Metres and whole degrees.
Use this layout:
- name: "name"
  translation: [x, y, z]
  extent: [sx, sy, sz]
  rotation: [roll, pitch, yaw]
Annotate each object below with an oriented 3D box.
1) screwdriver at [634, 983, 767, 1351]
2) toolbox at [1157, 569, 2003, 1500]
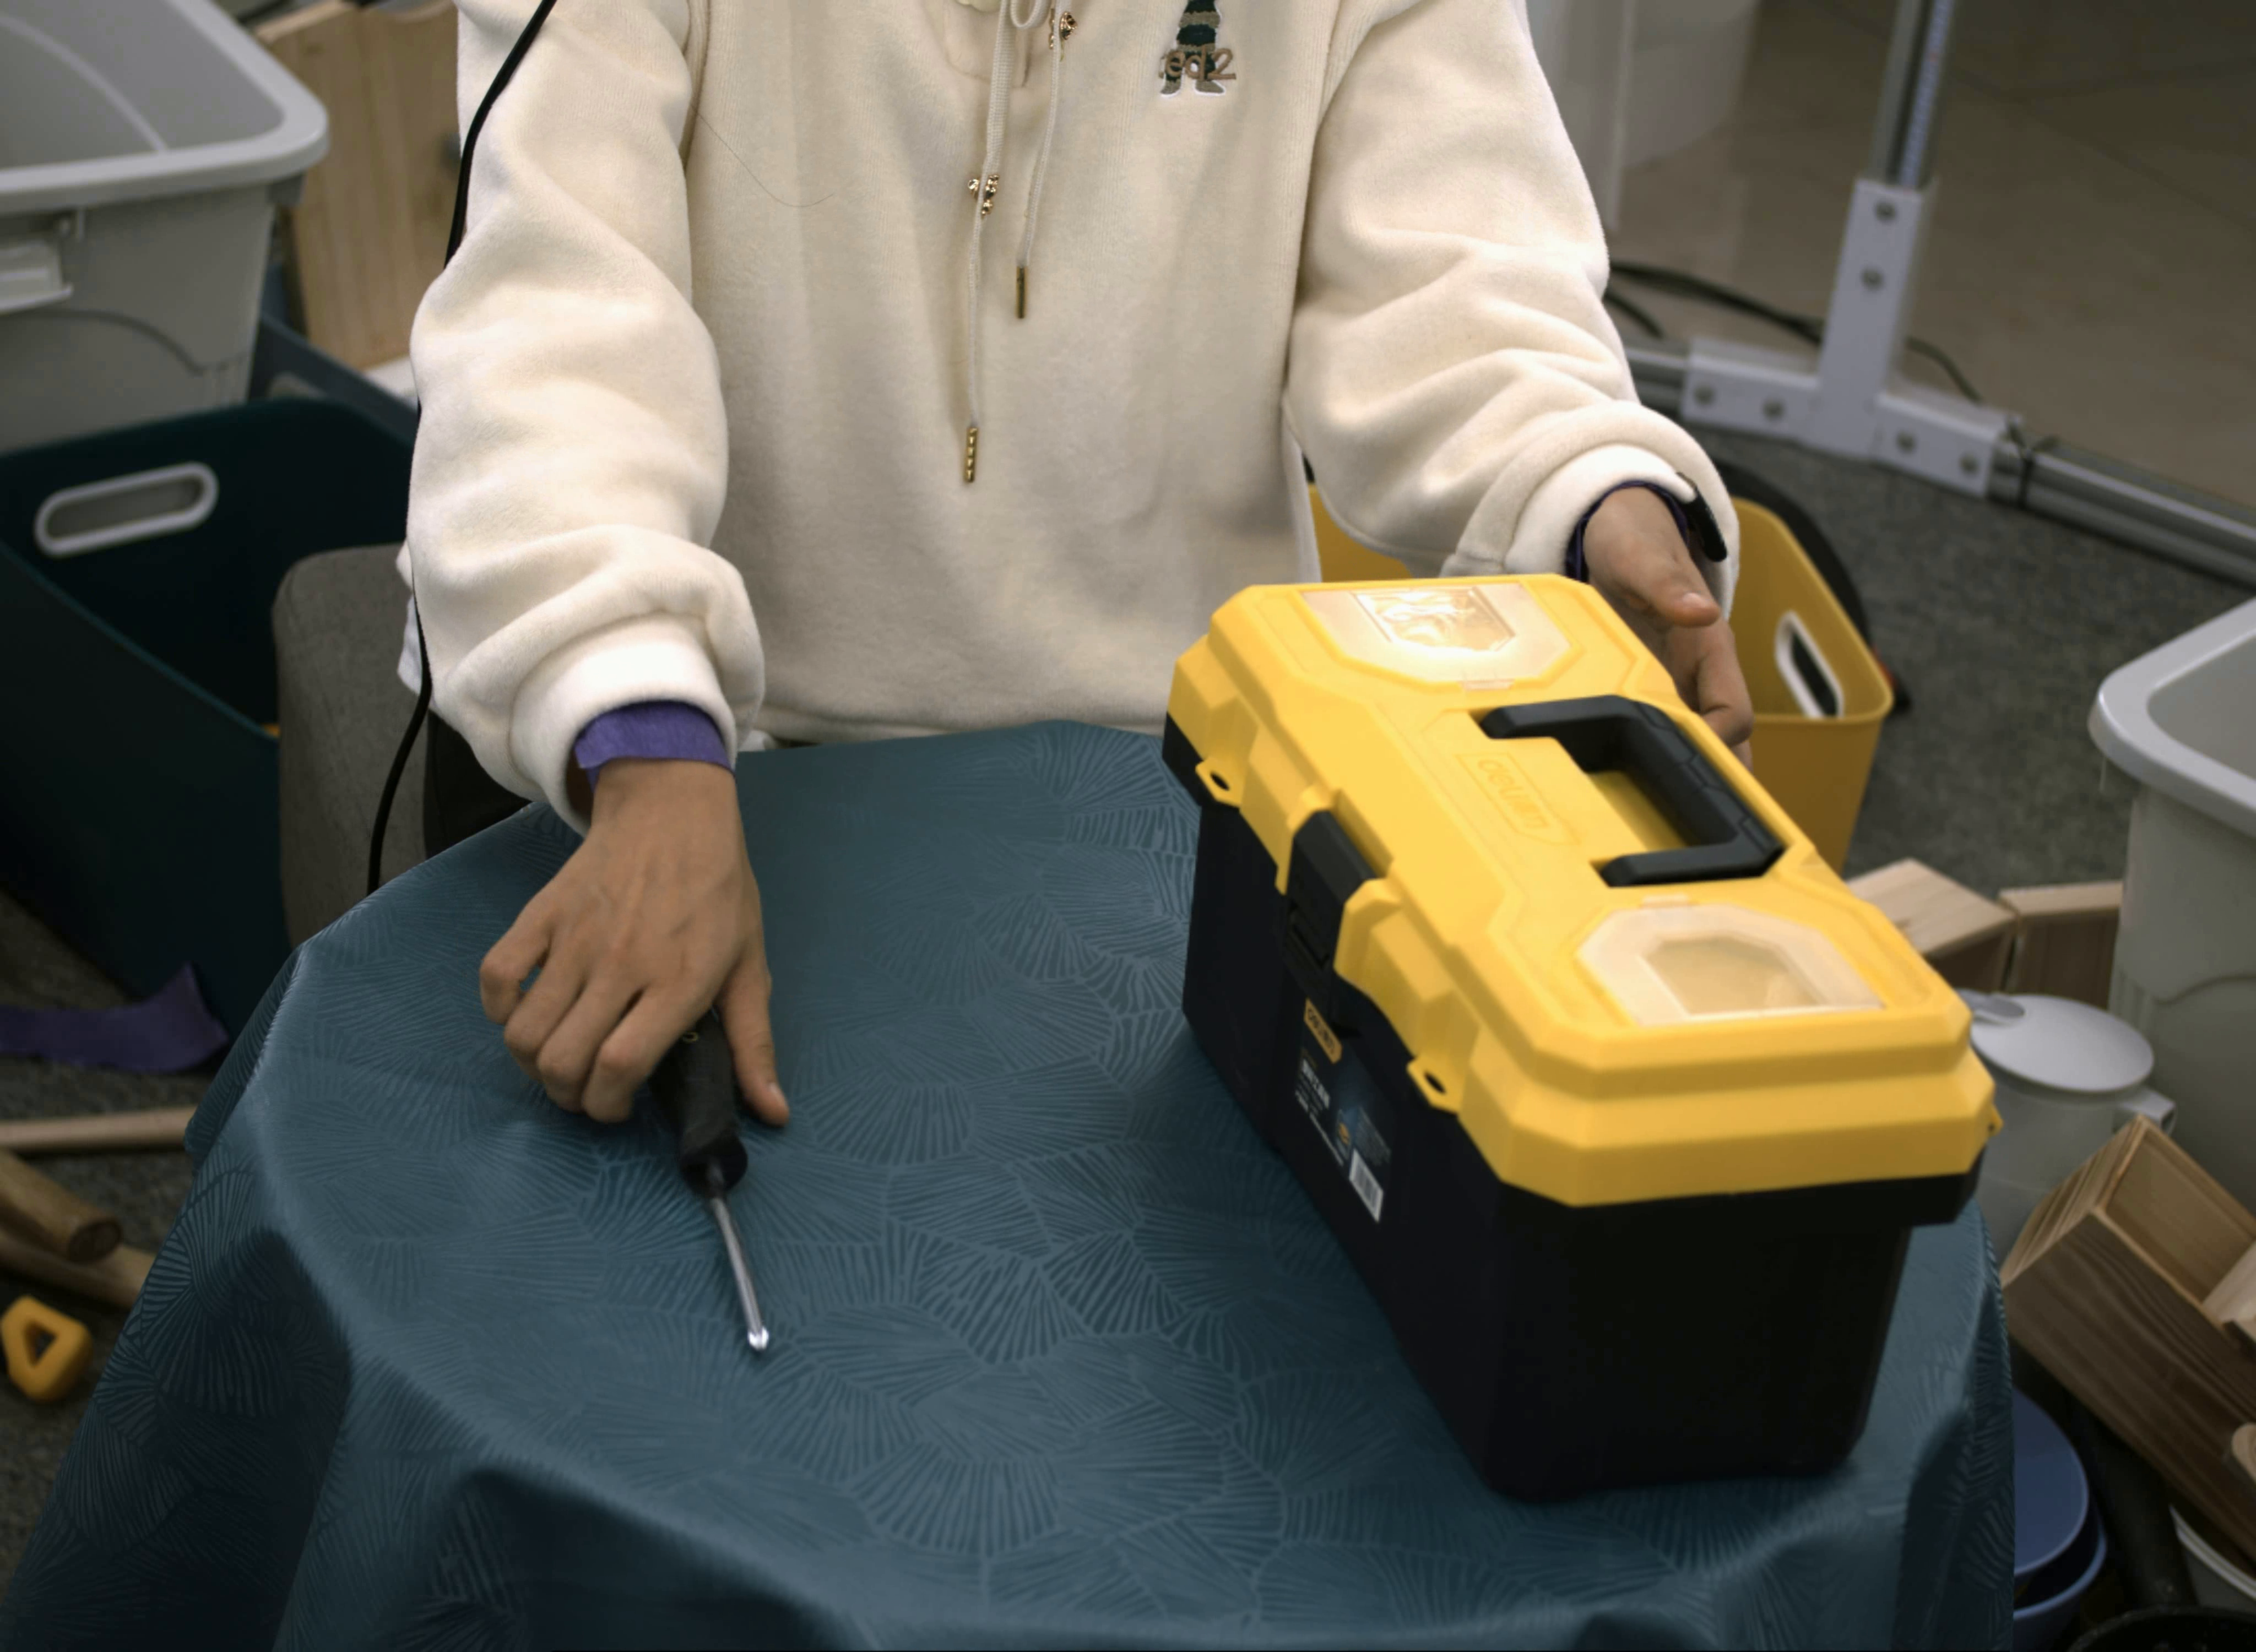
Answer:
- name: "screwdriver"
  translation: [-0.139, 0.110, 1.761]
  extent: [0.031, 0.031, 0.198]
  rotation: [0, 29, -14]
- name: "toolbox"
  translation: [0.136, 0.061, 1.764]
  extent: [0.180, 0.172, 0.354]
  rotation: [-3, 28, -18]
